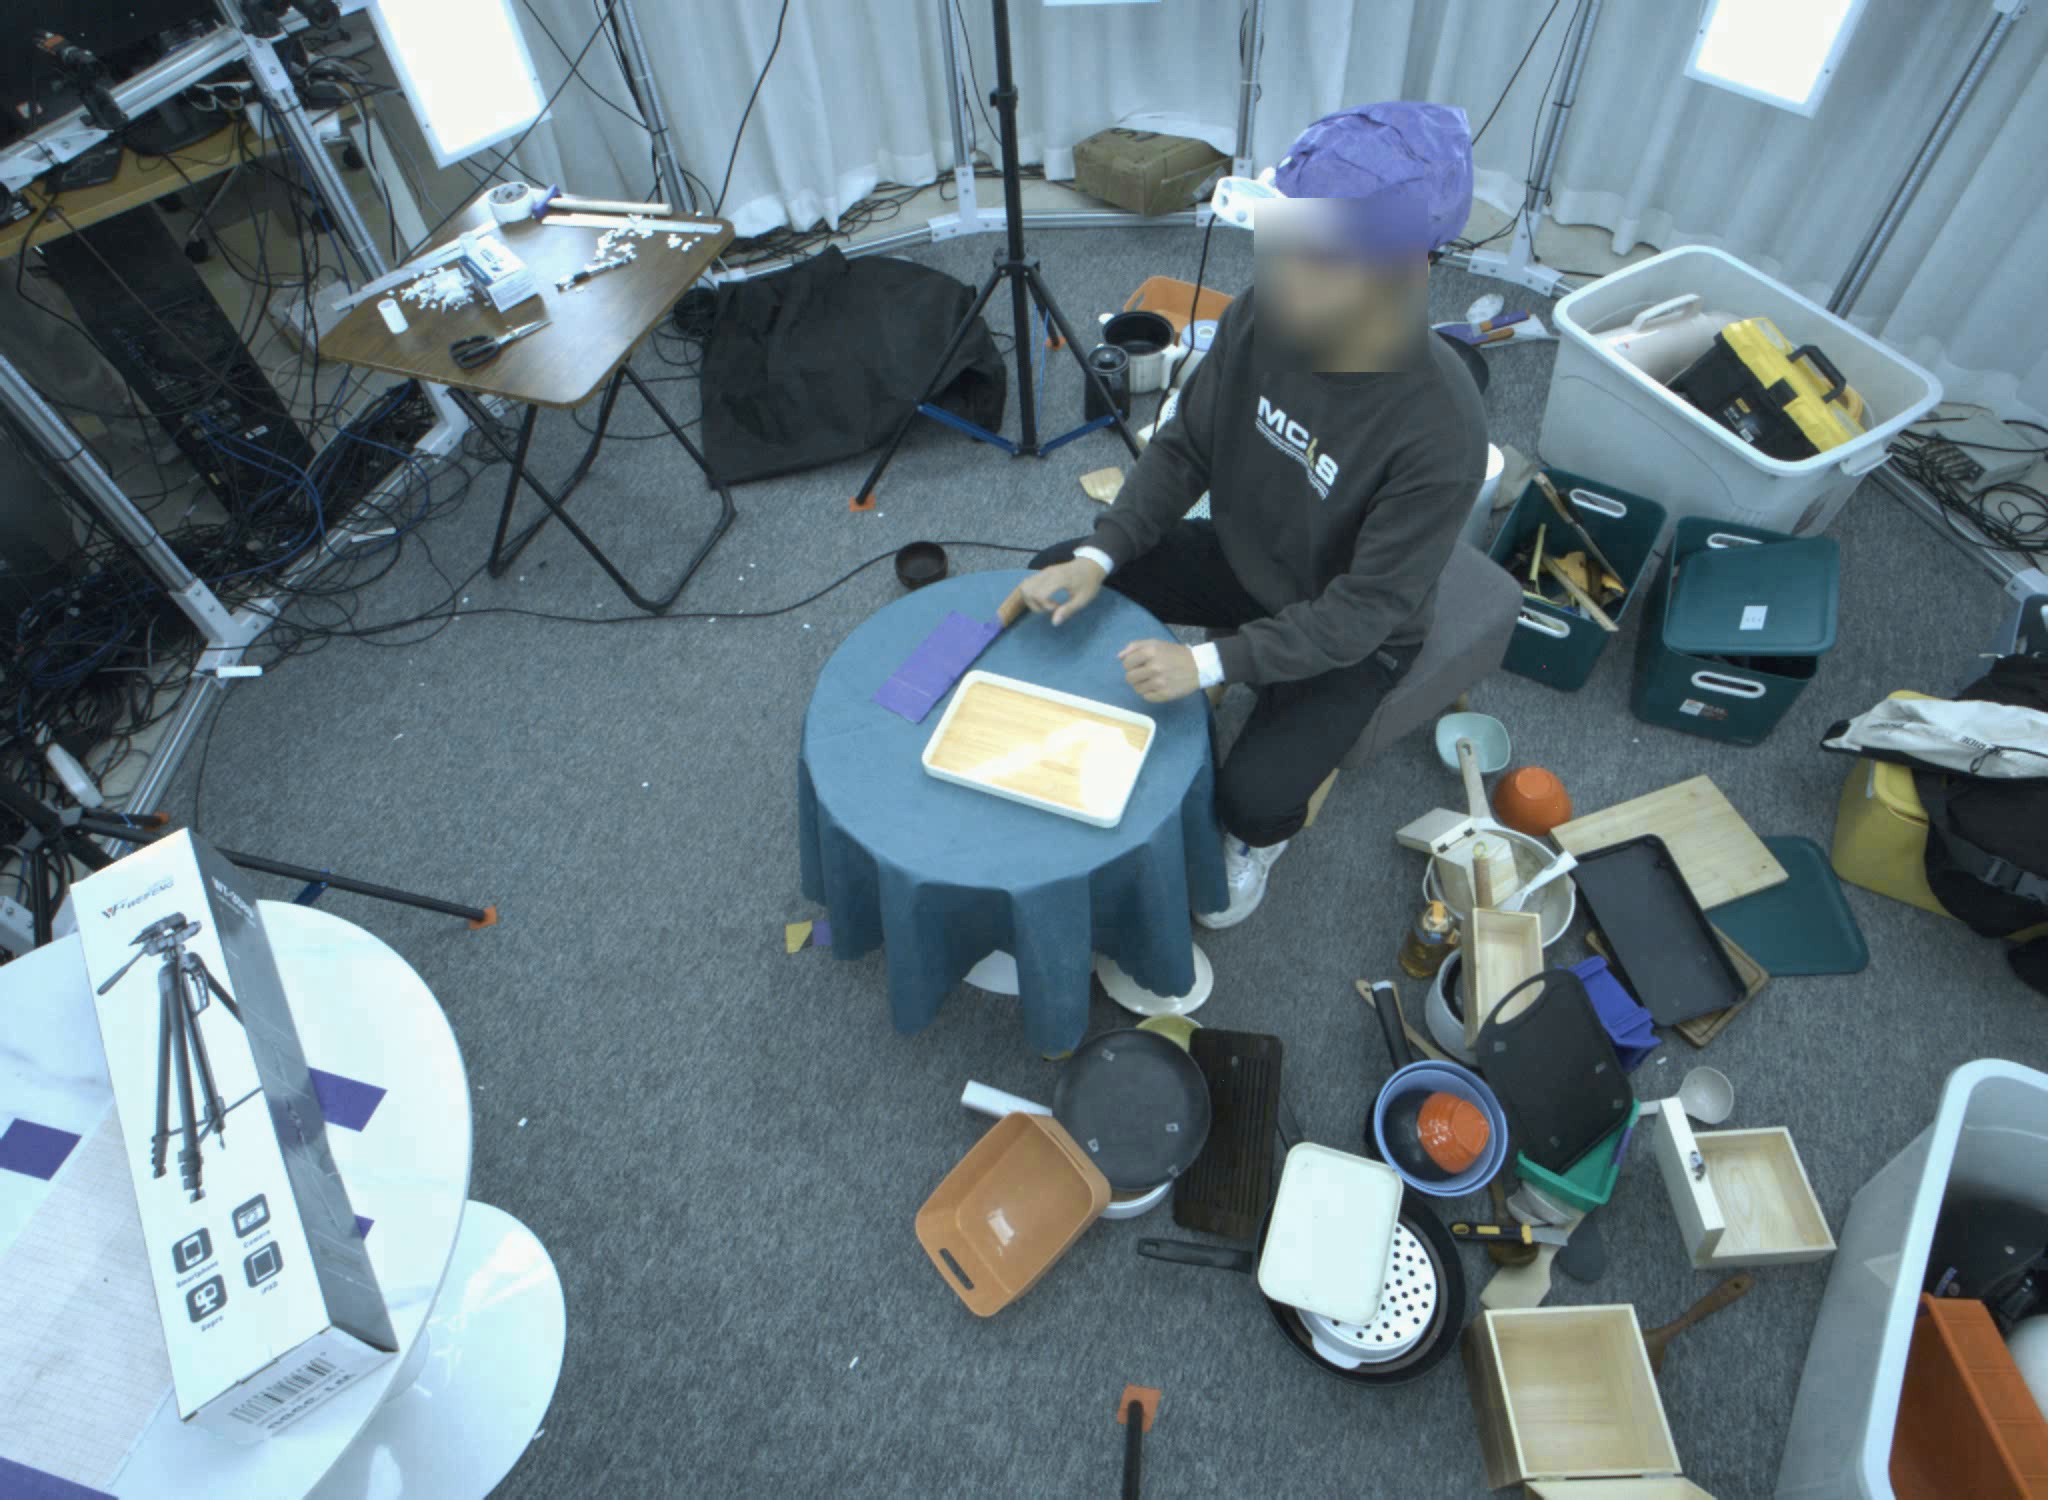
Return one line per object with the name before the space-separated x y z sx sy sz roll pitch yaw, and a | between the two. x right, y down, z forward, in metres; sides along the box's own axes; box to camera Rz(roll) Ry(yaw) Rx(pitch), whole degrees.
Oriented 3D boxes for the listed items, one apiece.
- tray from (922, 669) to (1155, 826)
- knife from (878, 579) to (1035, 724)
tray | 0.022 -0.007 1.783 0.297 0.028 0.191 17 56 13
knife | -0.106 -0.169 1.901 0.102 0.032 0.316 29 61 19
